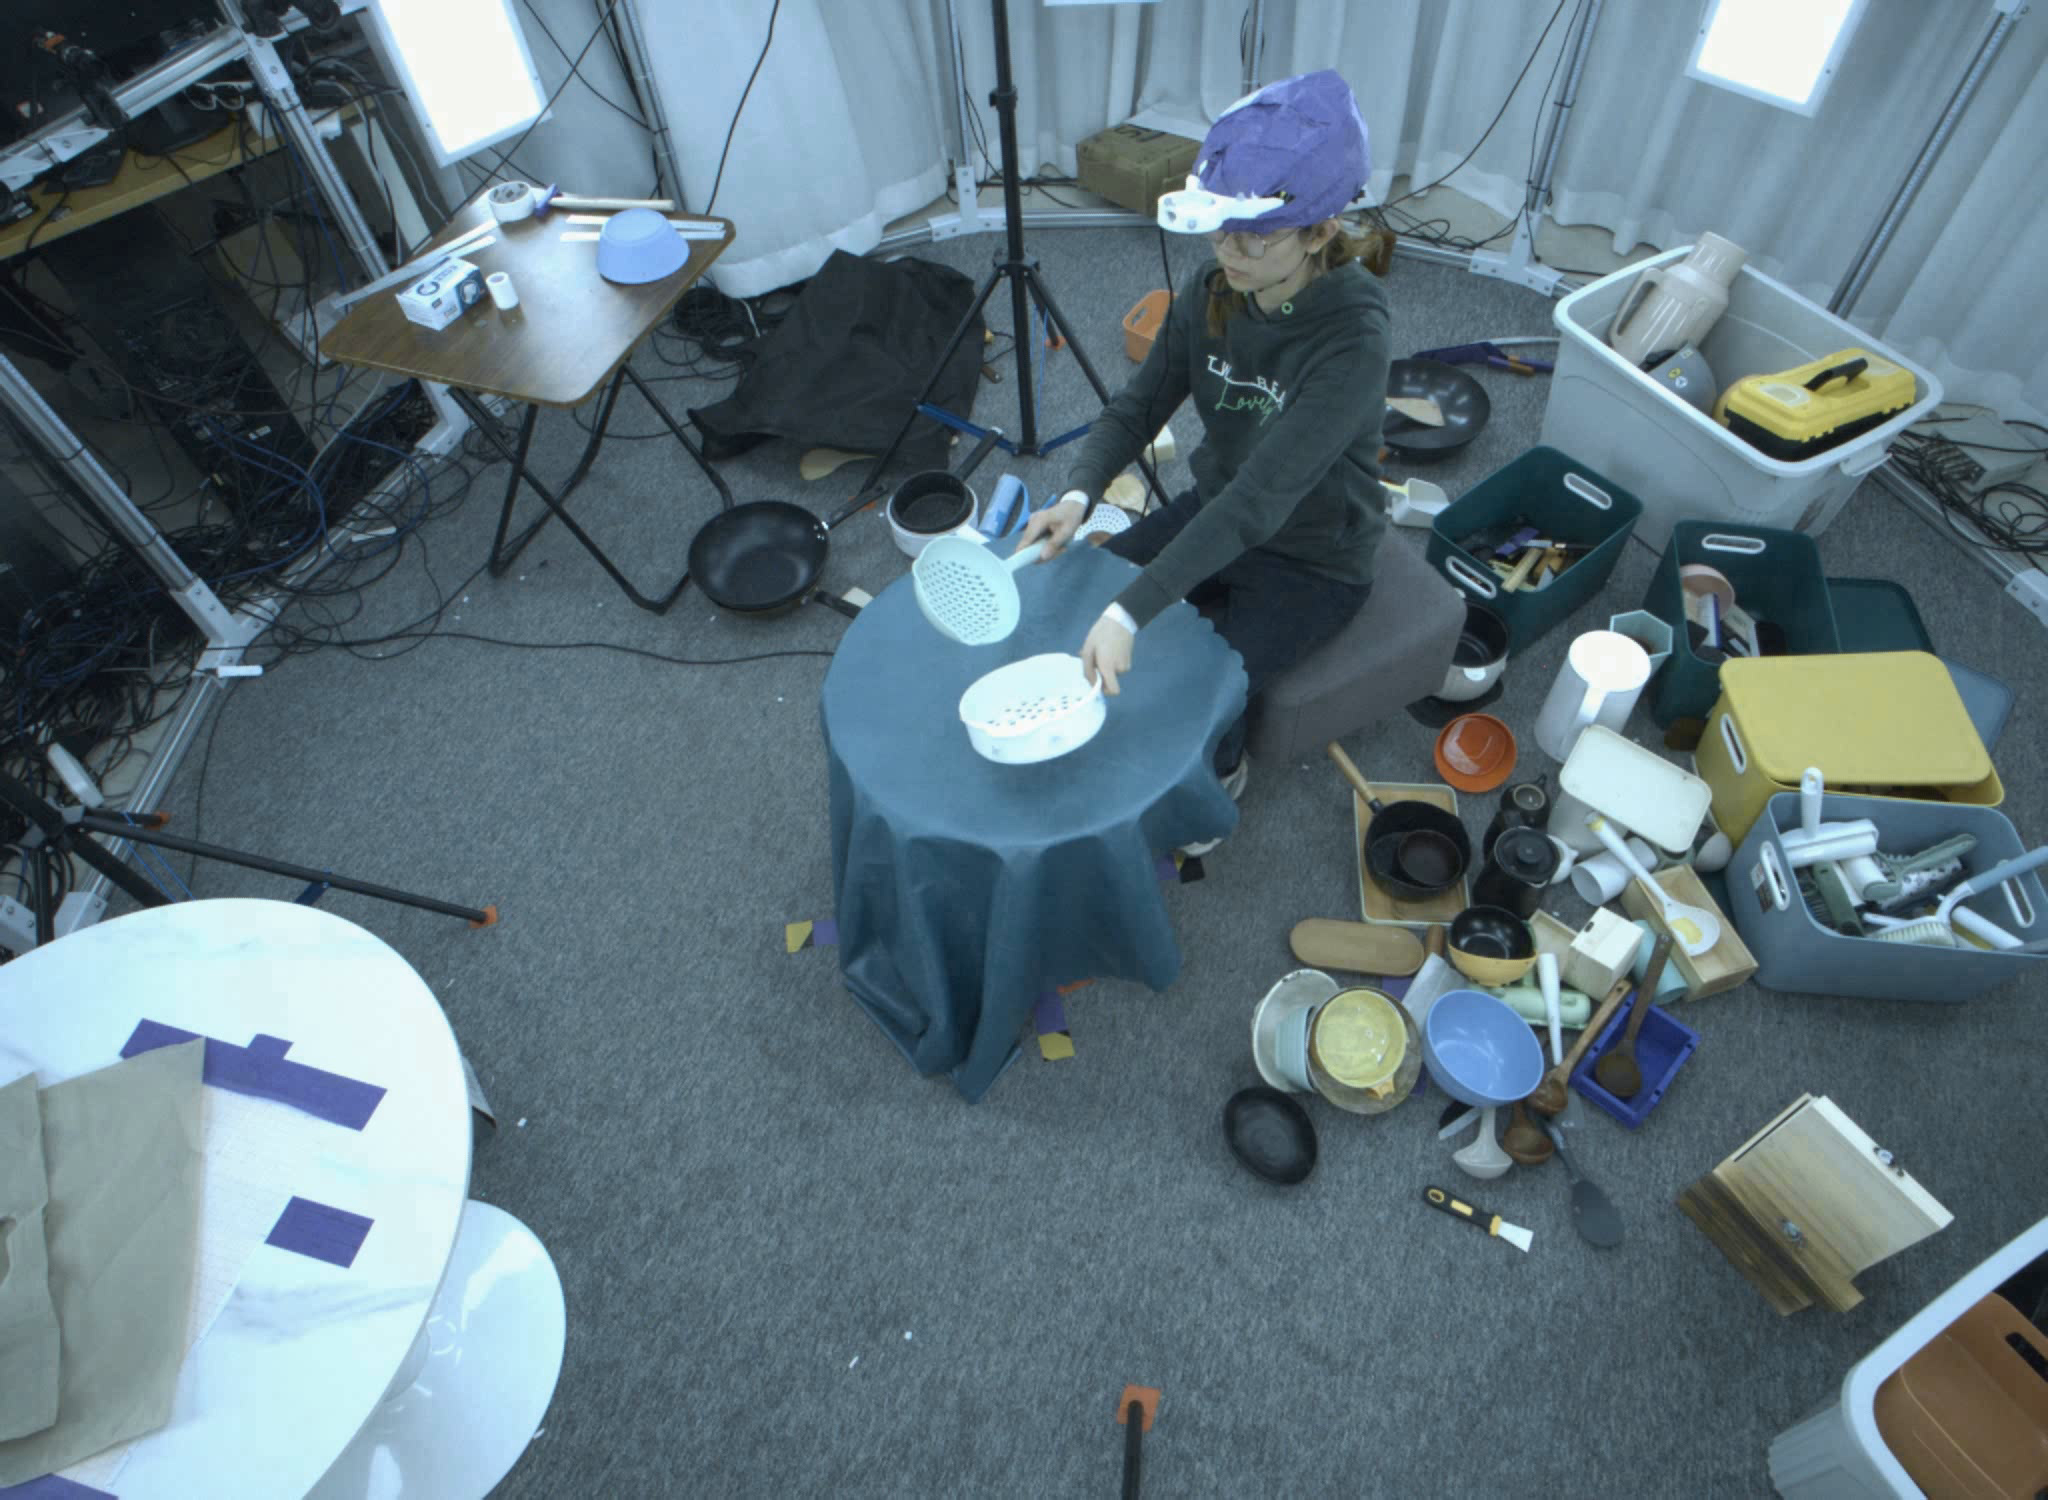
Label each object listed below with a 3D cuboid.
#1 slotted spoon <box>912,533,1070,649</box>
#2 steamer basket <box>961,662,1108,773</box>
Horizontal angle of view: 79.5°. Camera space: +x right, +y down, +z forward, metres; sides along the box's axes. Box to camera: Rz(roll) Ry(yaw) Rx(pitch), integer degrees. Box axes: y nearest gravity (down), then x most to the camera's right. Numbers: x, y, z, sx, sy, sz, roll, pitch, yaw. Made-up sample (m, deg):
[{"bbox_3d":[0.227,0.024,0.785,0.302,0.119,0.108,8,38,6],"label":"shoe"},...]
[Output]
[{"bbox_3d":[-0.028,-0.258,1.792,0.362,0.074,0.170,-38,94,-38],"label":"slotted spoon"},{"bbox_3d":[0.017,-0.044,1.708,0.200,0.070,0.230,-3,32,17],"label":"steamer basket"}]
